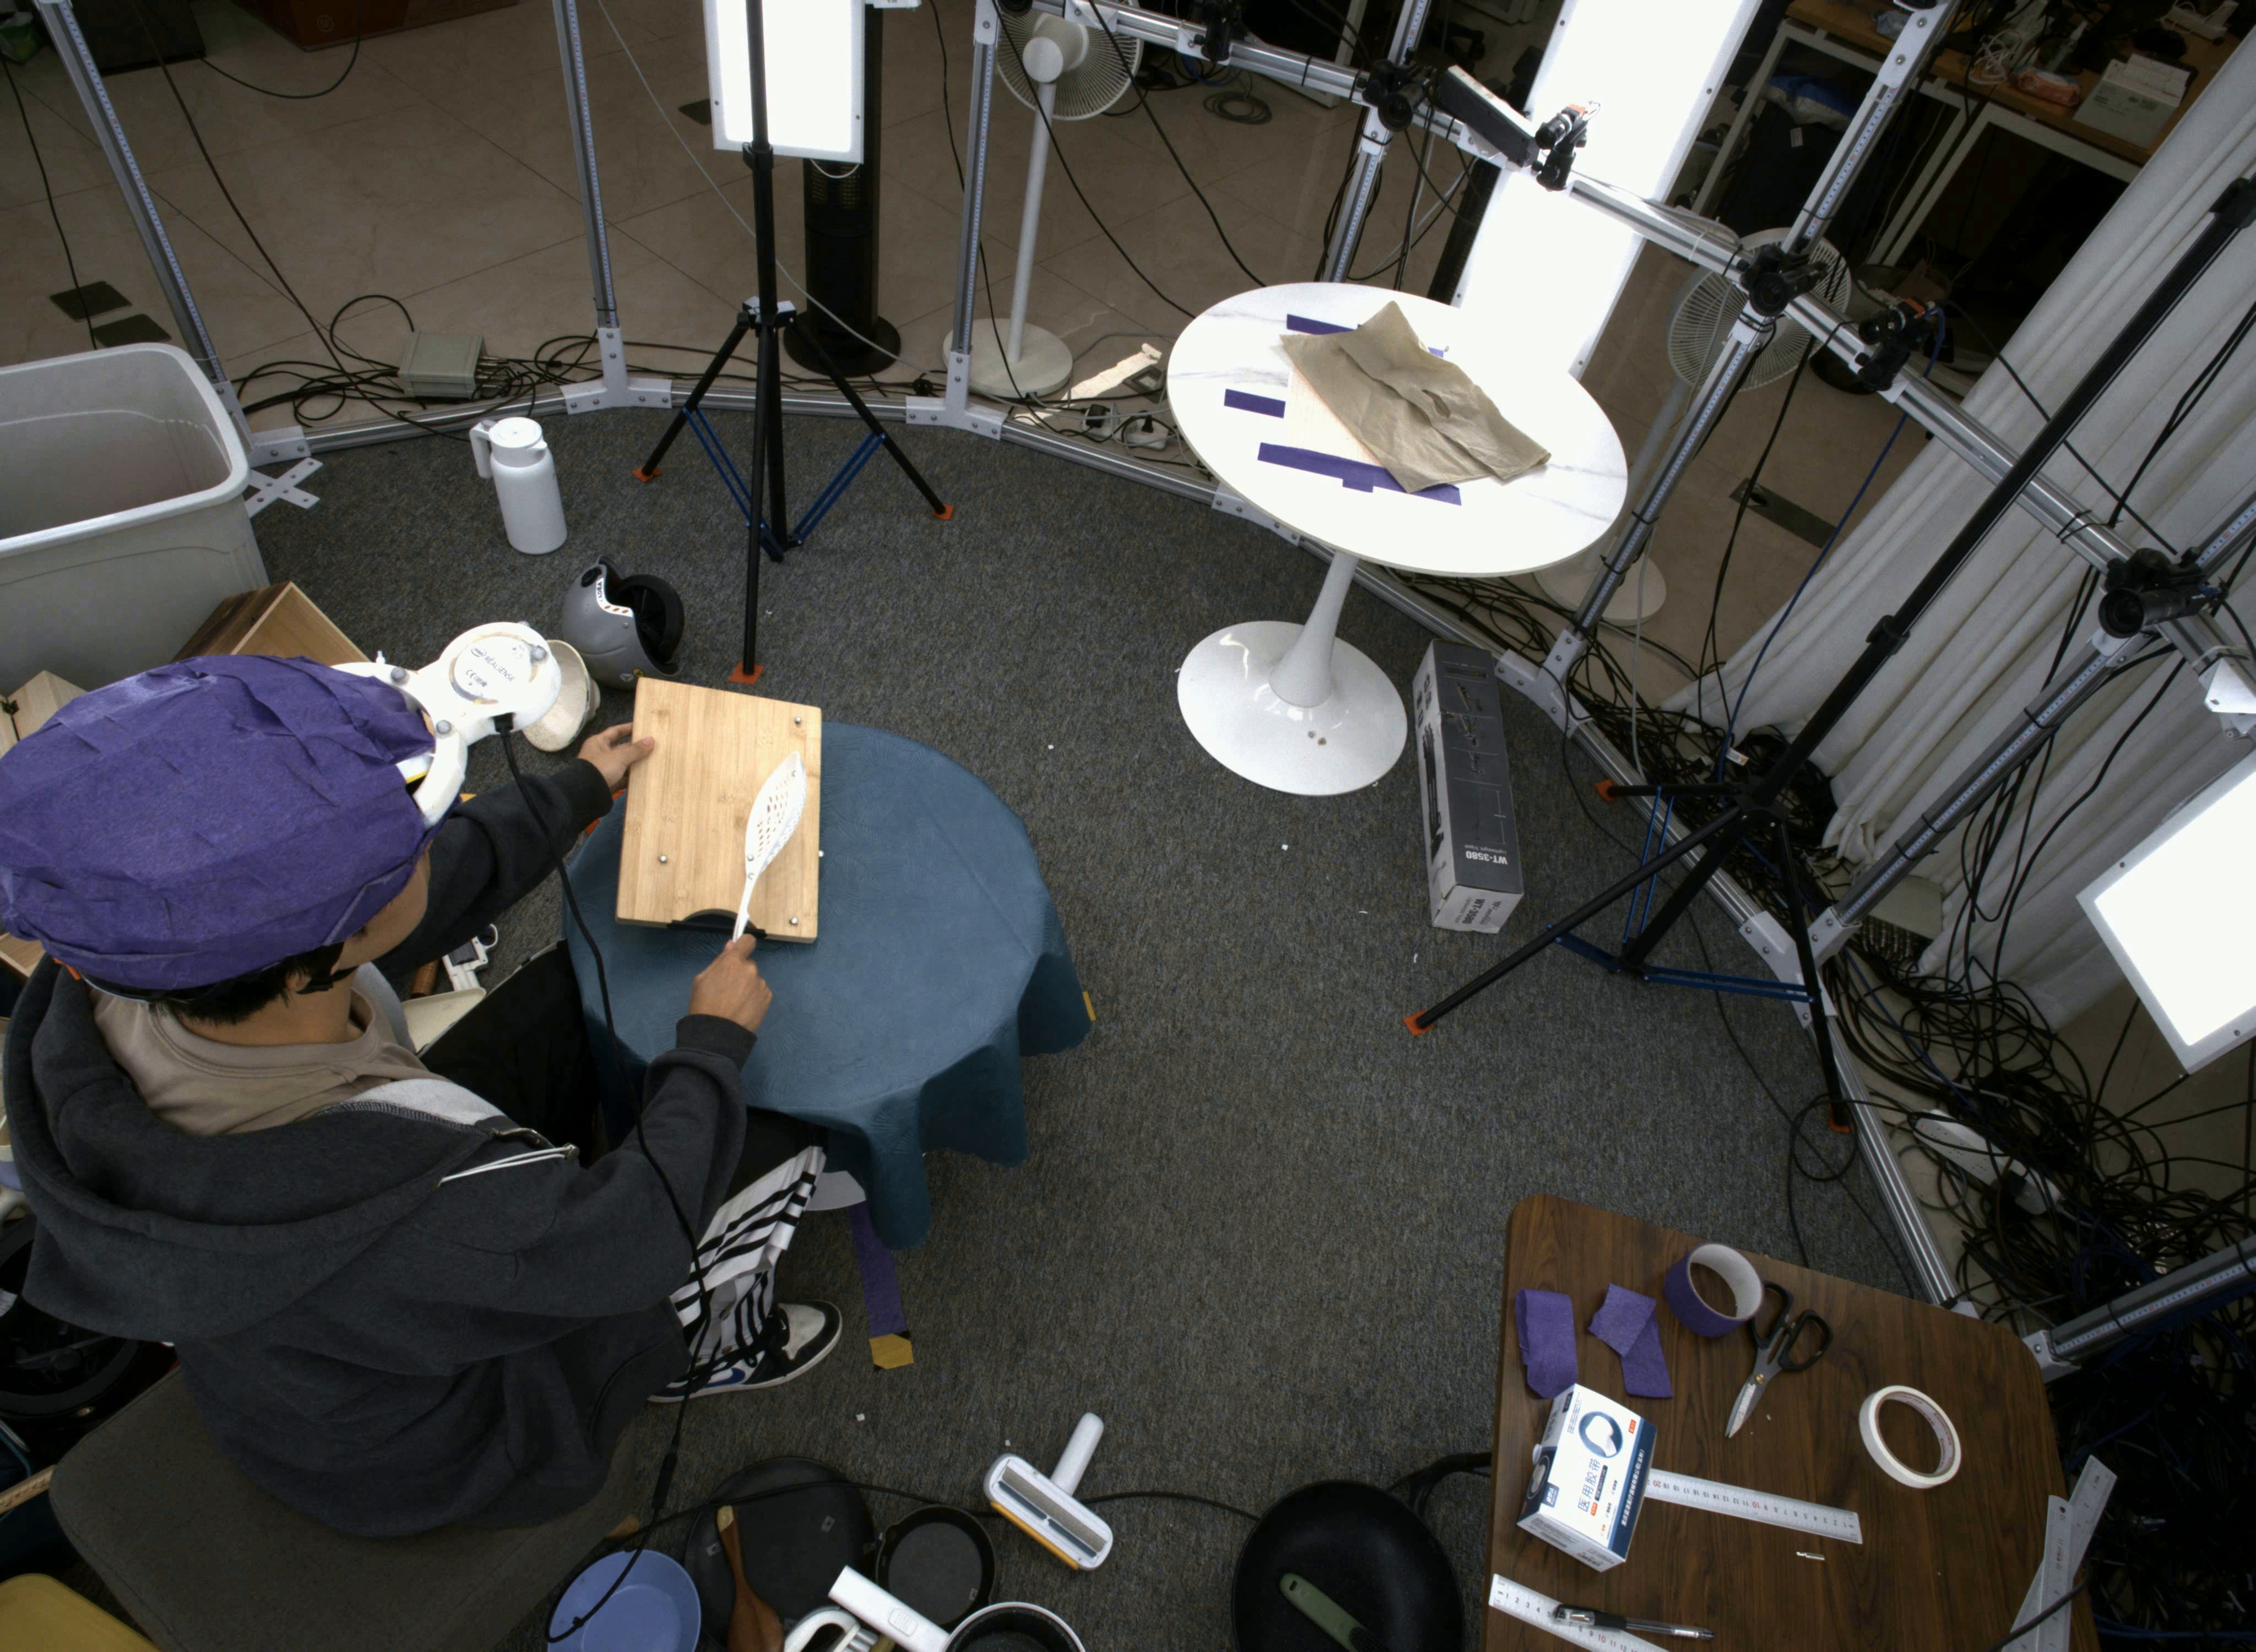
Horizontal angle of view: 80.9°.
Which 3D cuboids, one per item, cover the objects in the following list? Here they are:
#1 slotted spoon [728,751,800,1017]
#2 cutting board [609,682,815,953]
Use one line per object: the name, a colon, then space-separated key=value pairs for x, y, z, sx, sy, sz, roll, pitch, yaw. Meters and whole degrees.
slotted spoon: x=-0.442 y=0.064 z=1.529 sx=0.051 sy=0.135 sz=0.342 roll=30 pitch=47 yaw=-27
cutting board: x=-0.520 y=-0.014 z=1.629 sx=0.254 sy=0.023 sz=0.344 roll=7 pitch=61 yaw=-28
